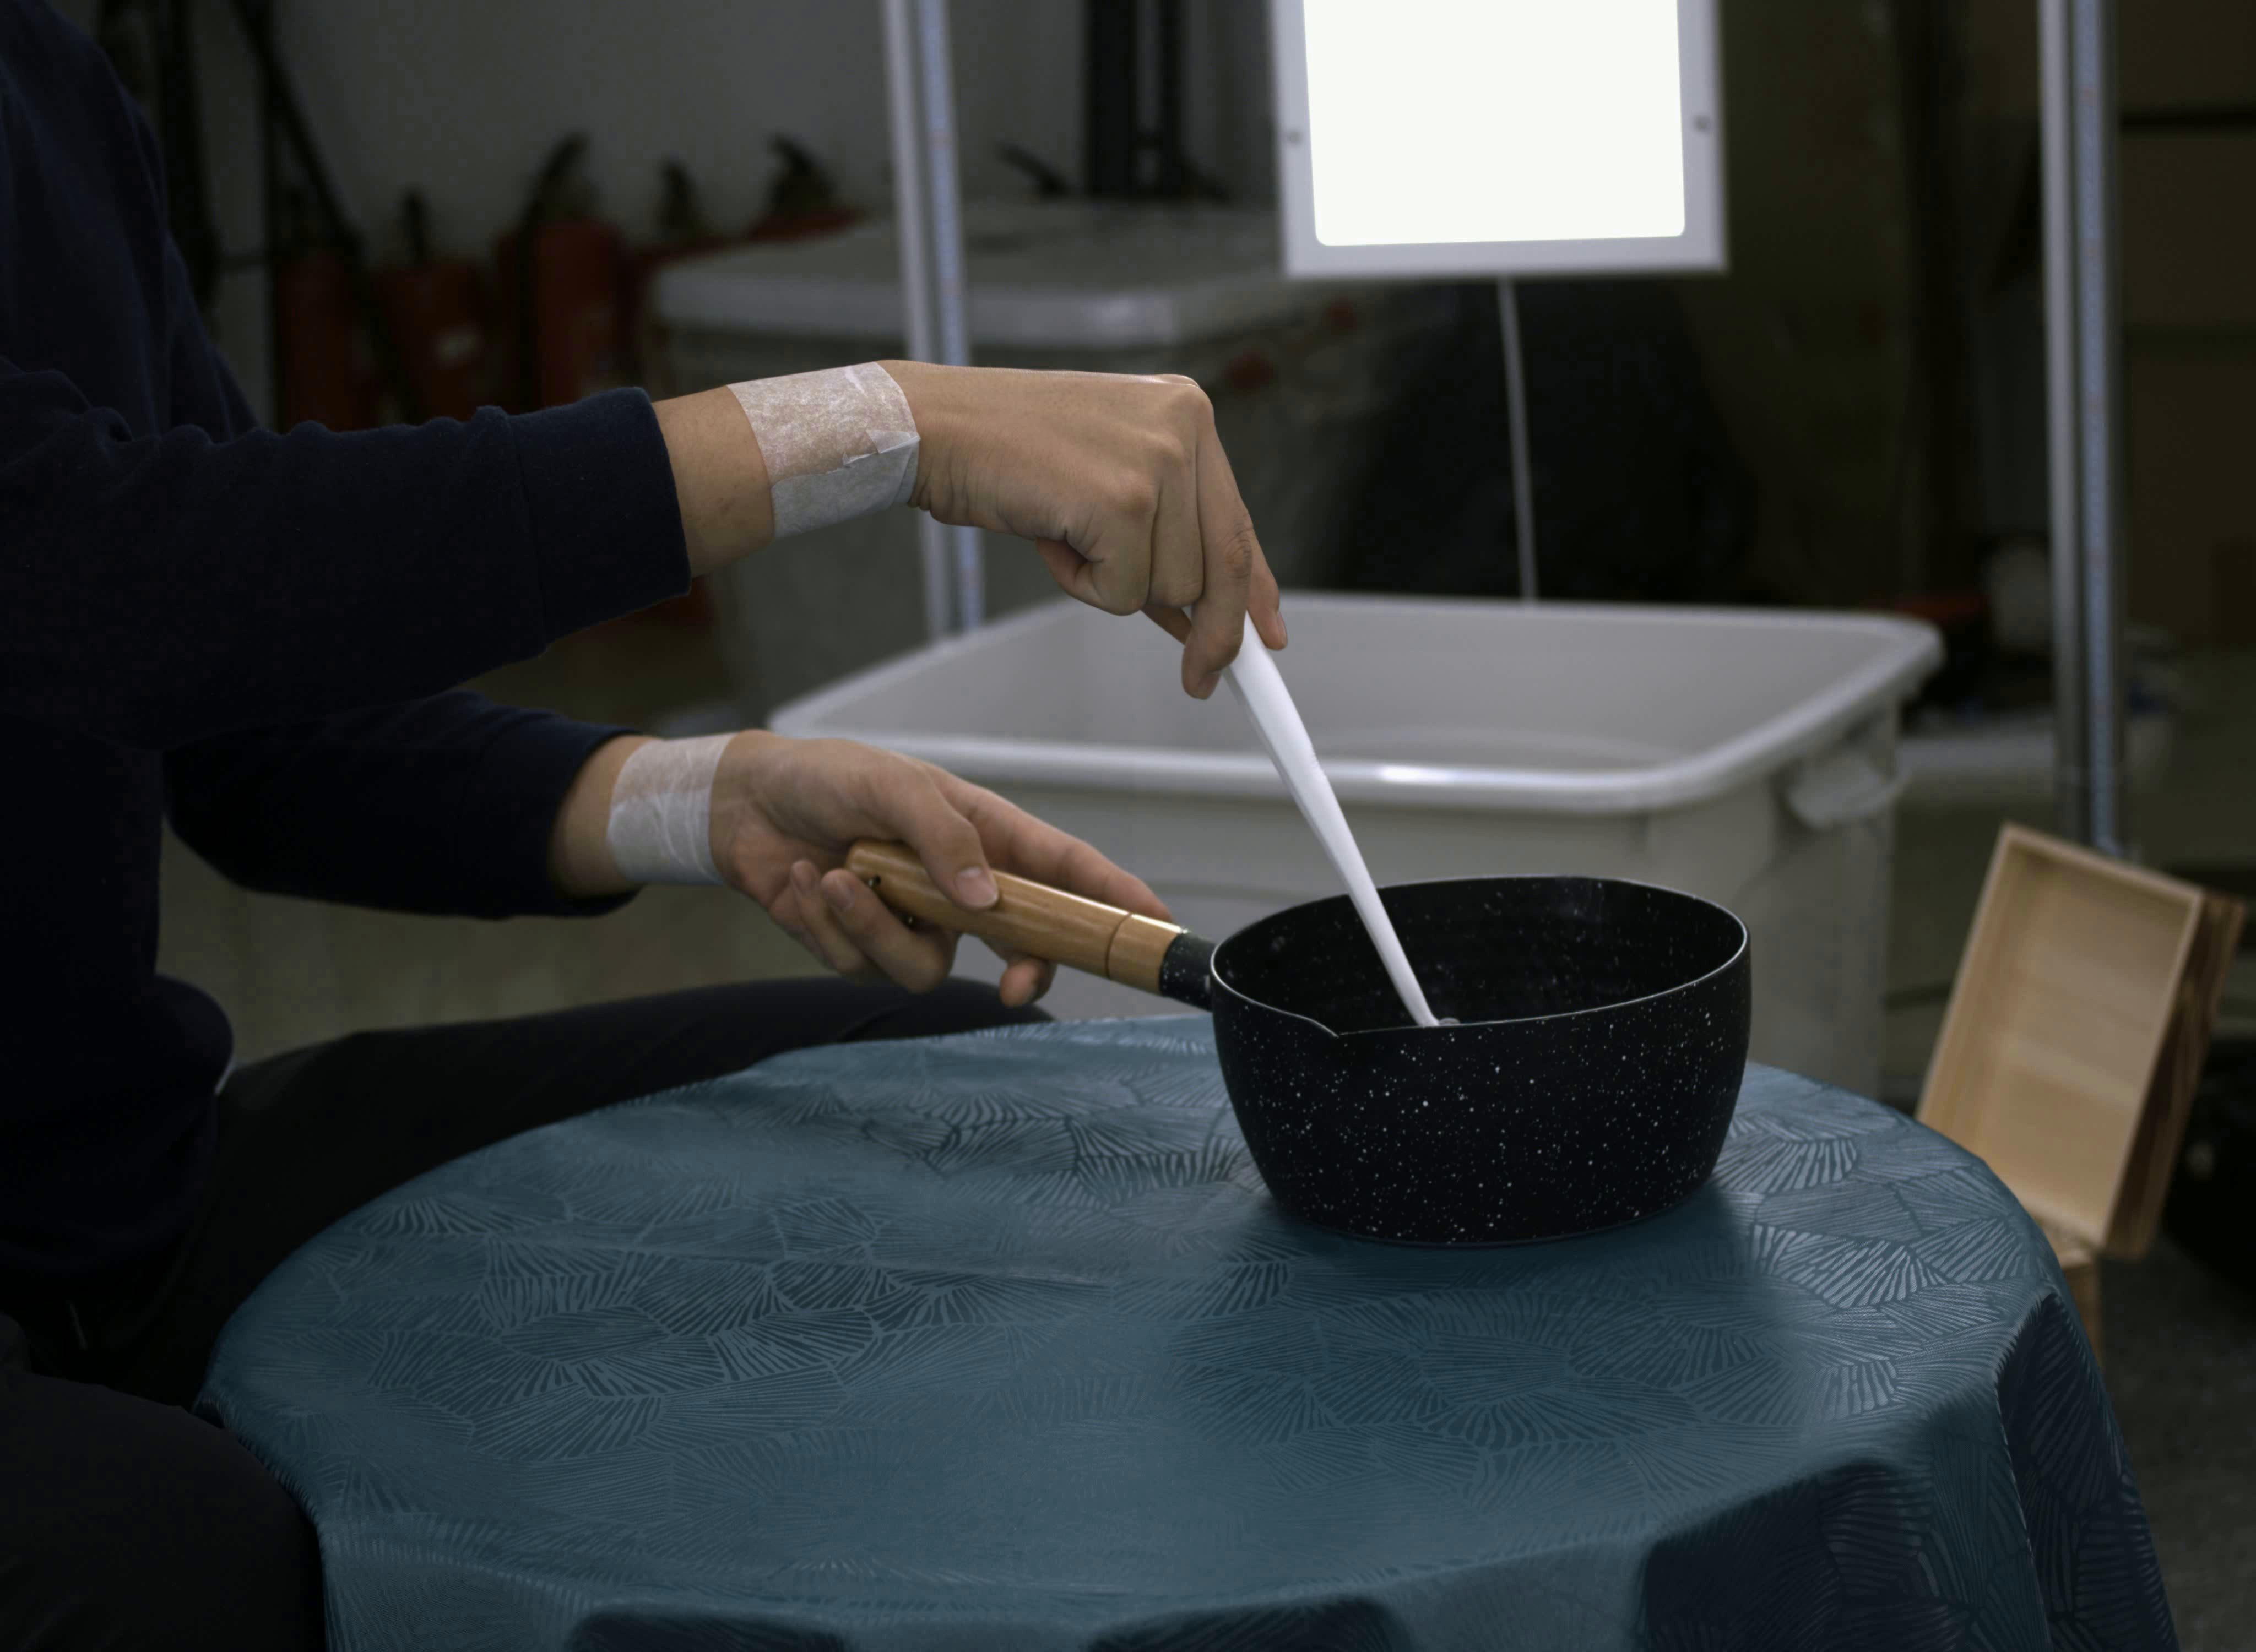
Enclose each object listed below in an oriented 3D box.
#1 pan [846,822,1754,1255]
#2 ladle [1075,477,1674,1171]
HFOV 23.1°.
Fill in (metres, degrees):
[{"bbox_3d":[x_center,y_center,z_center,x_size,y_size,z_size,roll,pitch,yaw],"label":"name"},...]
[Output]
[{"bbox_3d":[0.051,0.065,1.902,0.349,0.108,0.203,5,18,30],"label":"pan"},{"bbox_3d":[0.088,0.003,1.817,0.070,0.292,0.090,-30,15,11],"label":"ladle"}]
